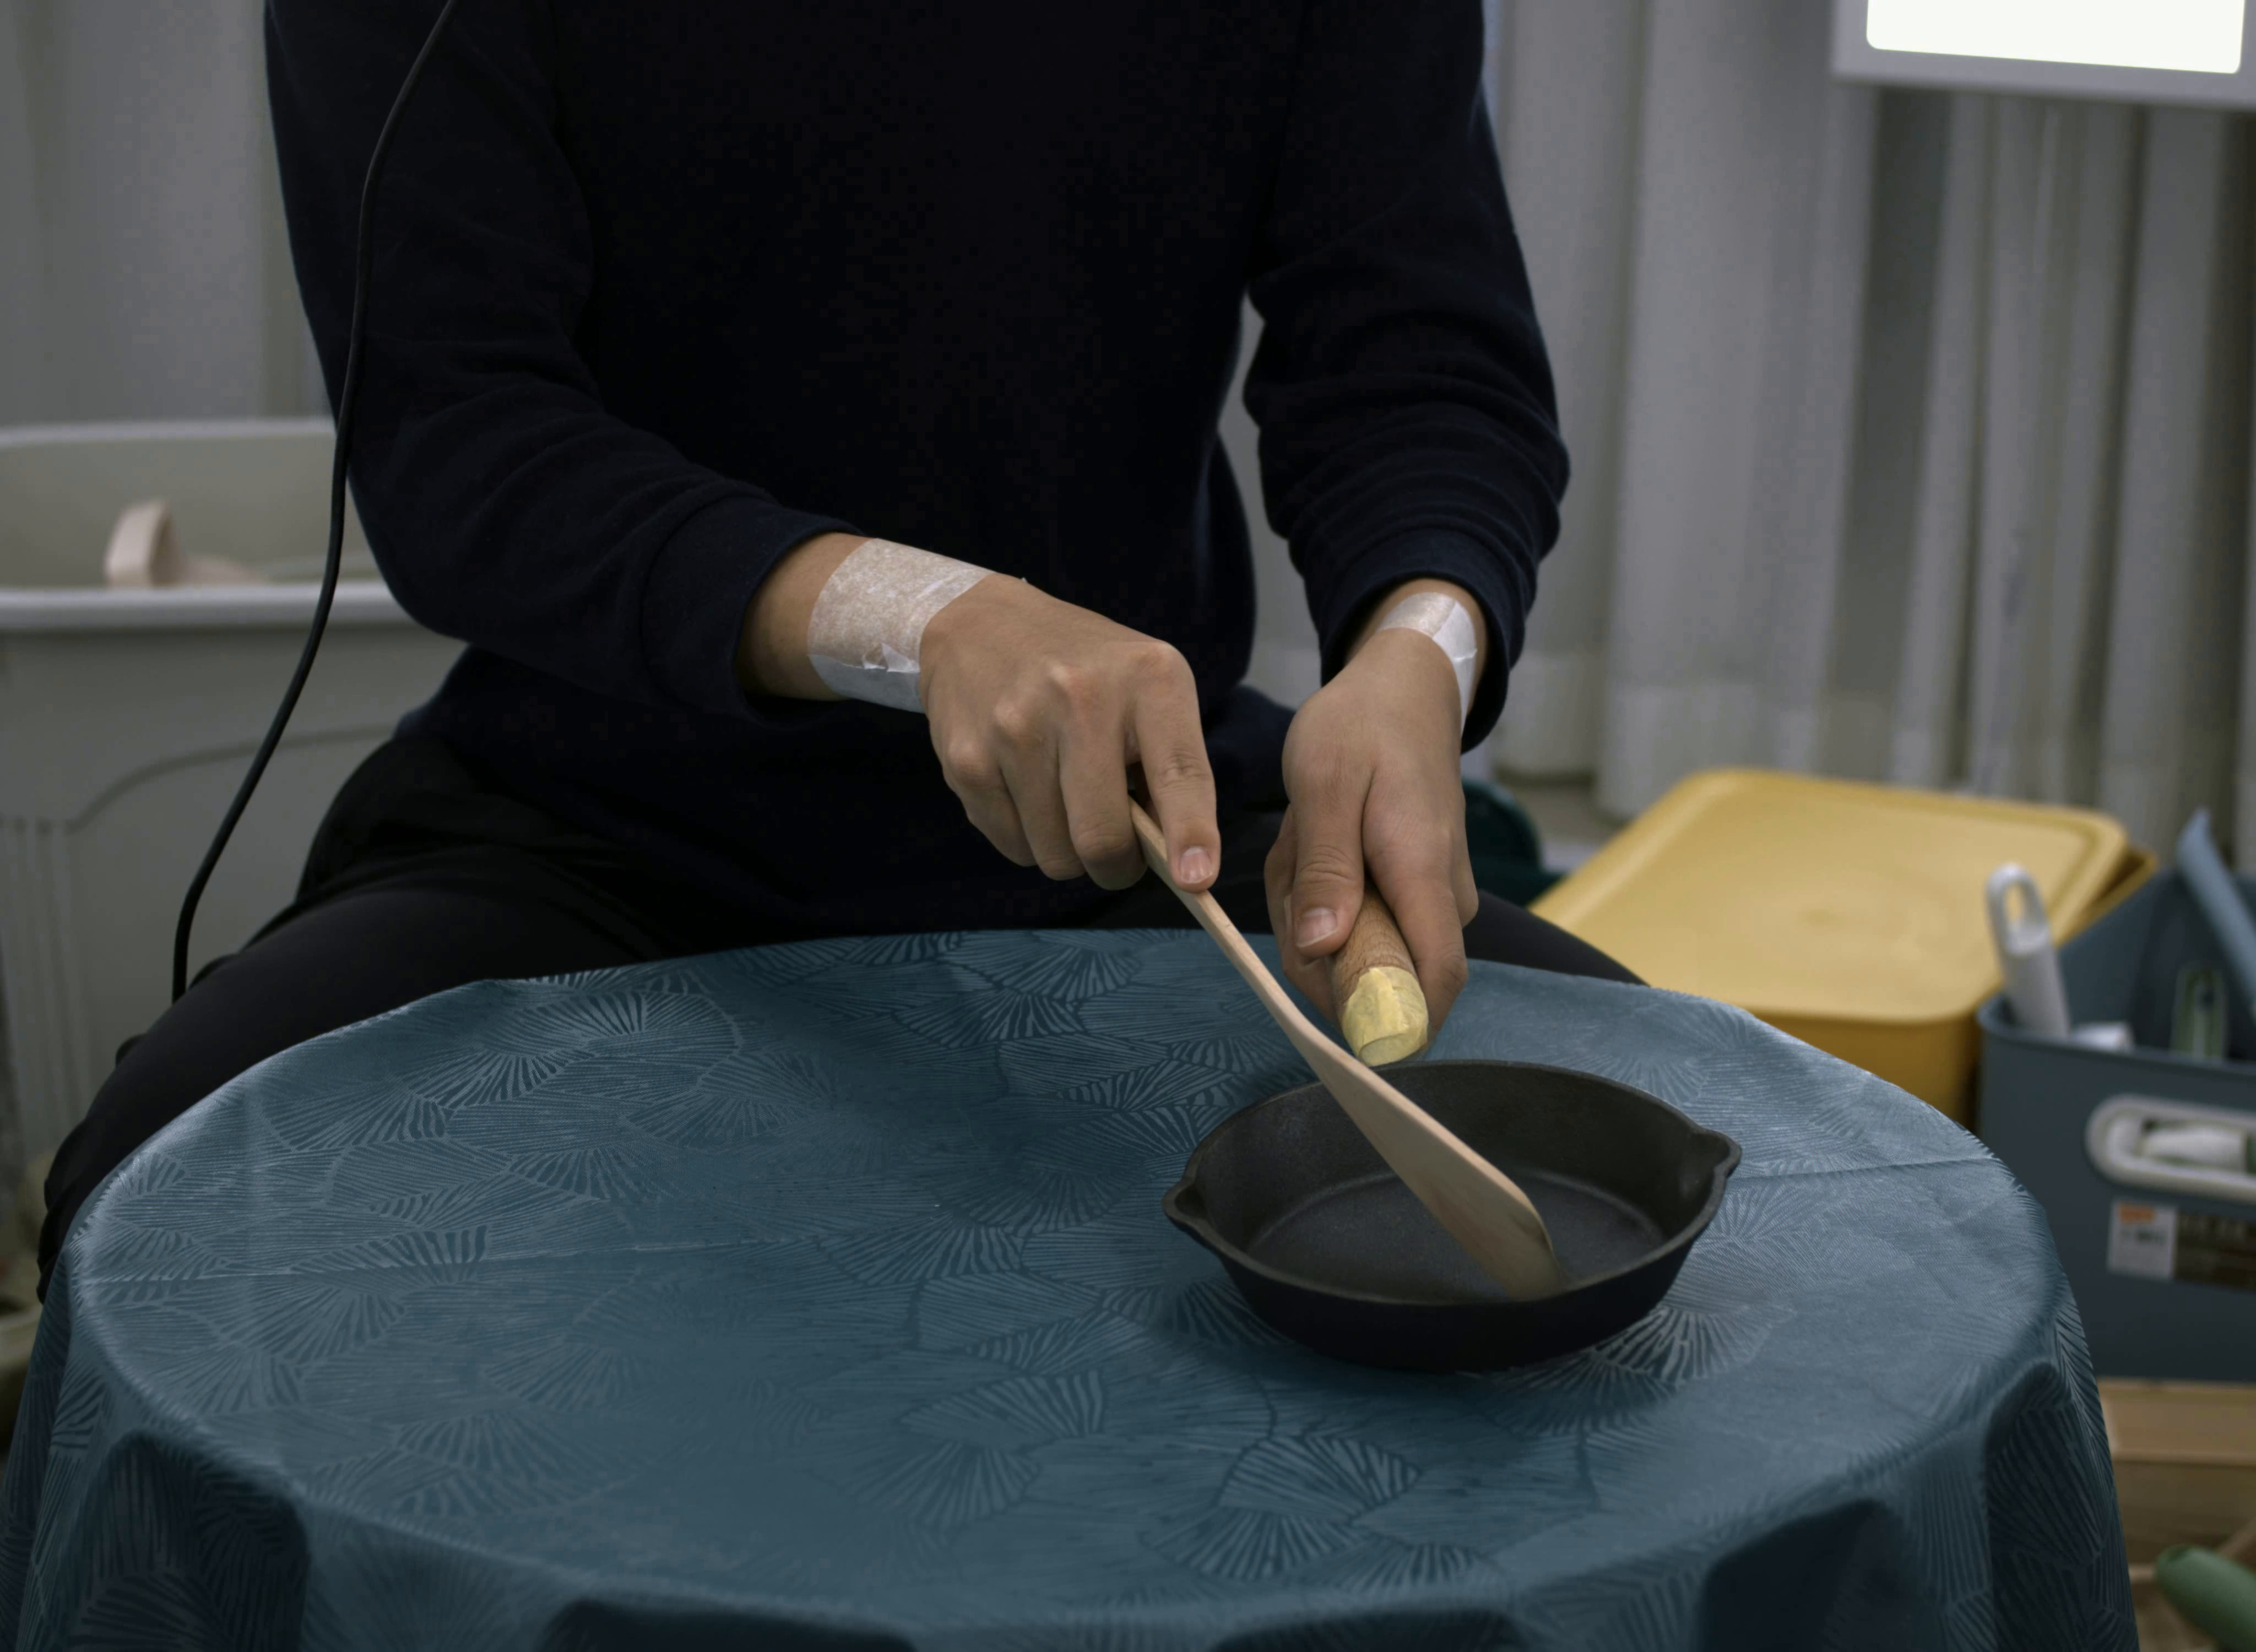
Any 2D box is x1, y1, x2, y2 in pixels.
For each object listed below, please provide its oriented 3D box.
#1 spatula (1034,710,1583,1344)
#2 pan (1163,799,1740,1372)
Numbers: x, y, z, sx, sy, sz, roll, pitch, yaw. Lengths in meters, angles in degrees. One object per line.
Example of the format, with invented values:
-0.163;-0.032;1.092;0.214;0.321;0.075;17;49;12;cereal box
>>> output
0.047;0.049;1.569;0.016;0.081;0.323;-33;41;-7;spatula
0.086;0.075;1.601;0.168;0.050;0.321;-4;24;-4;pan
